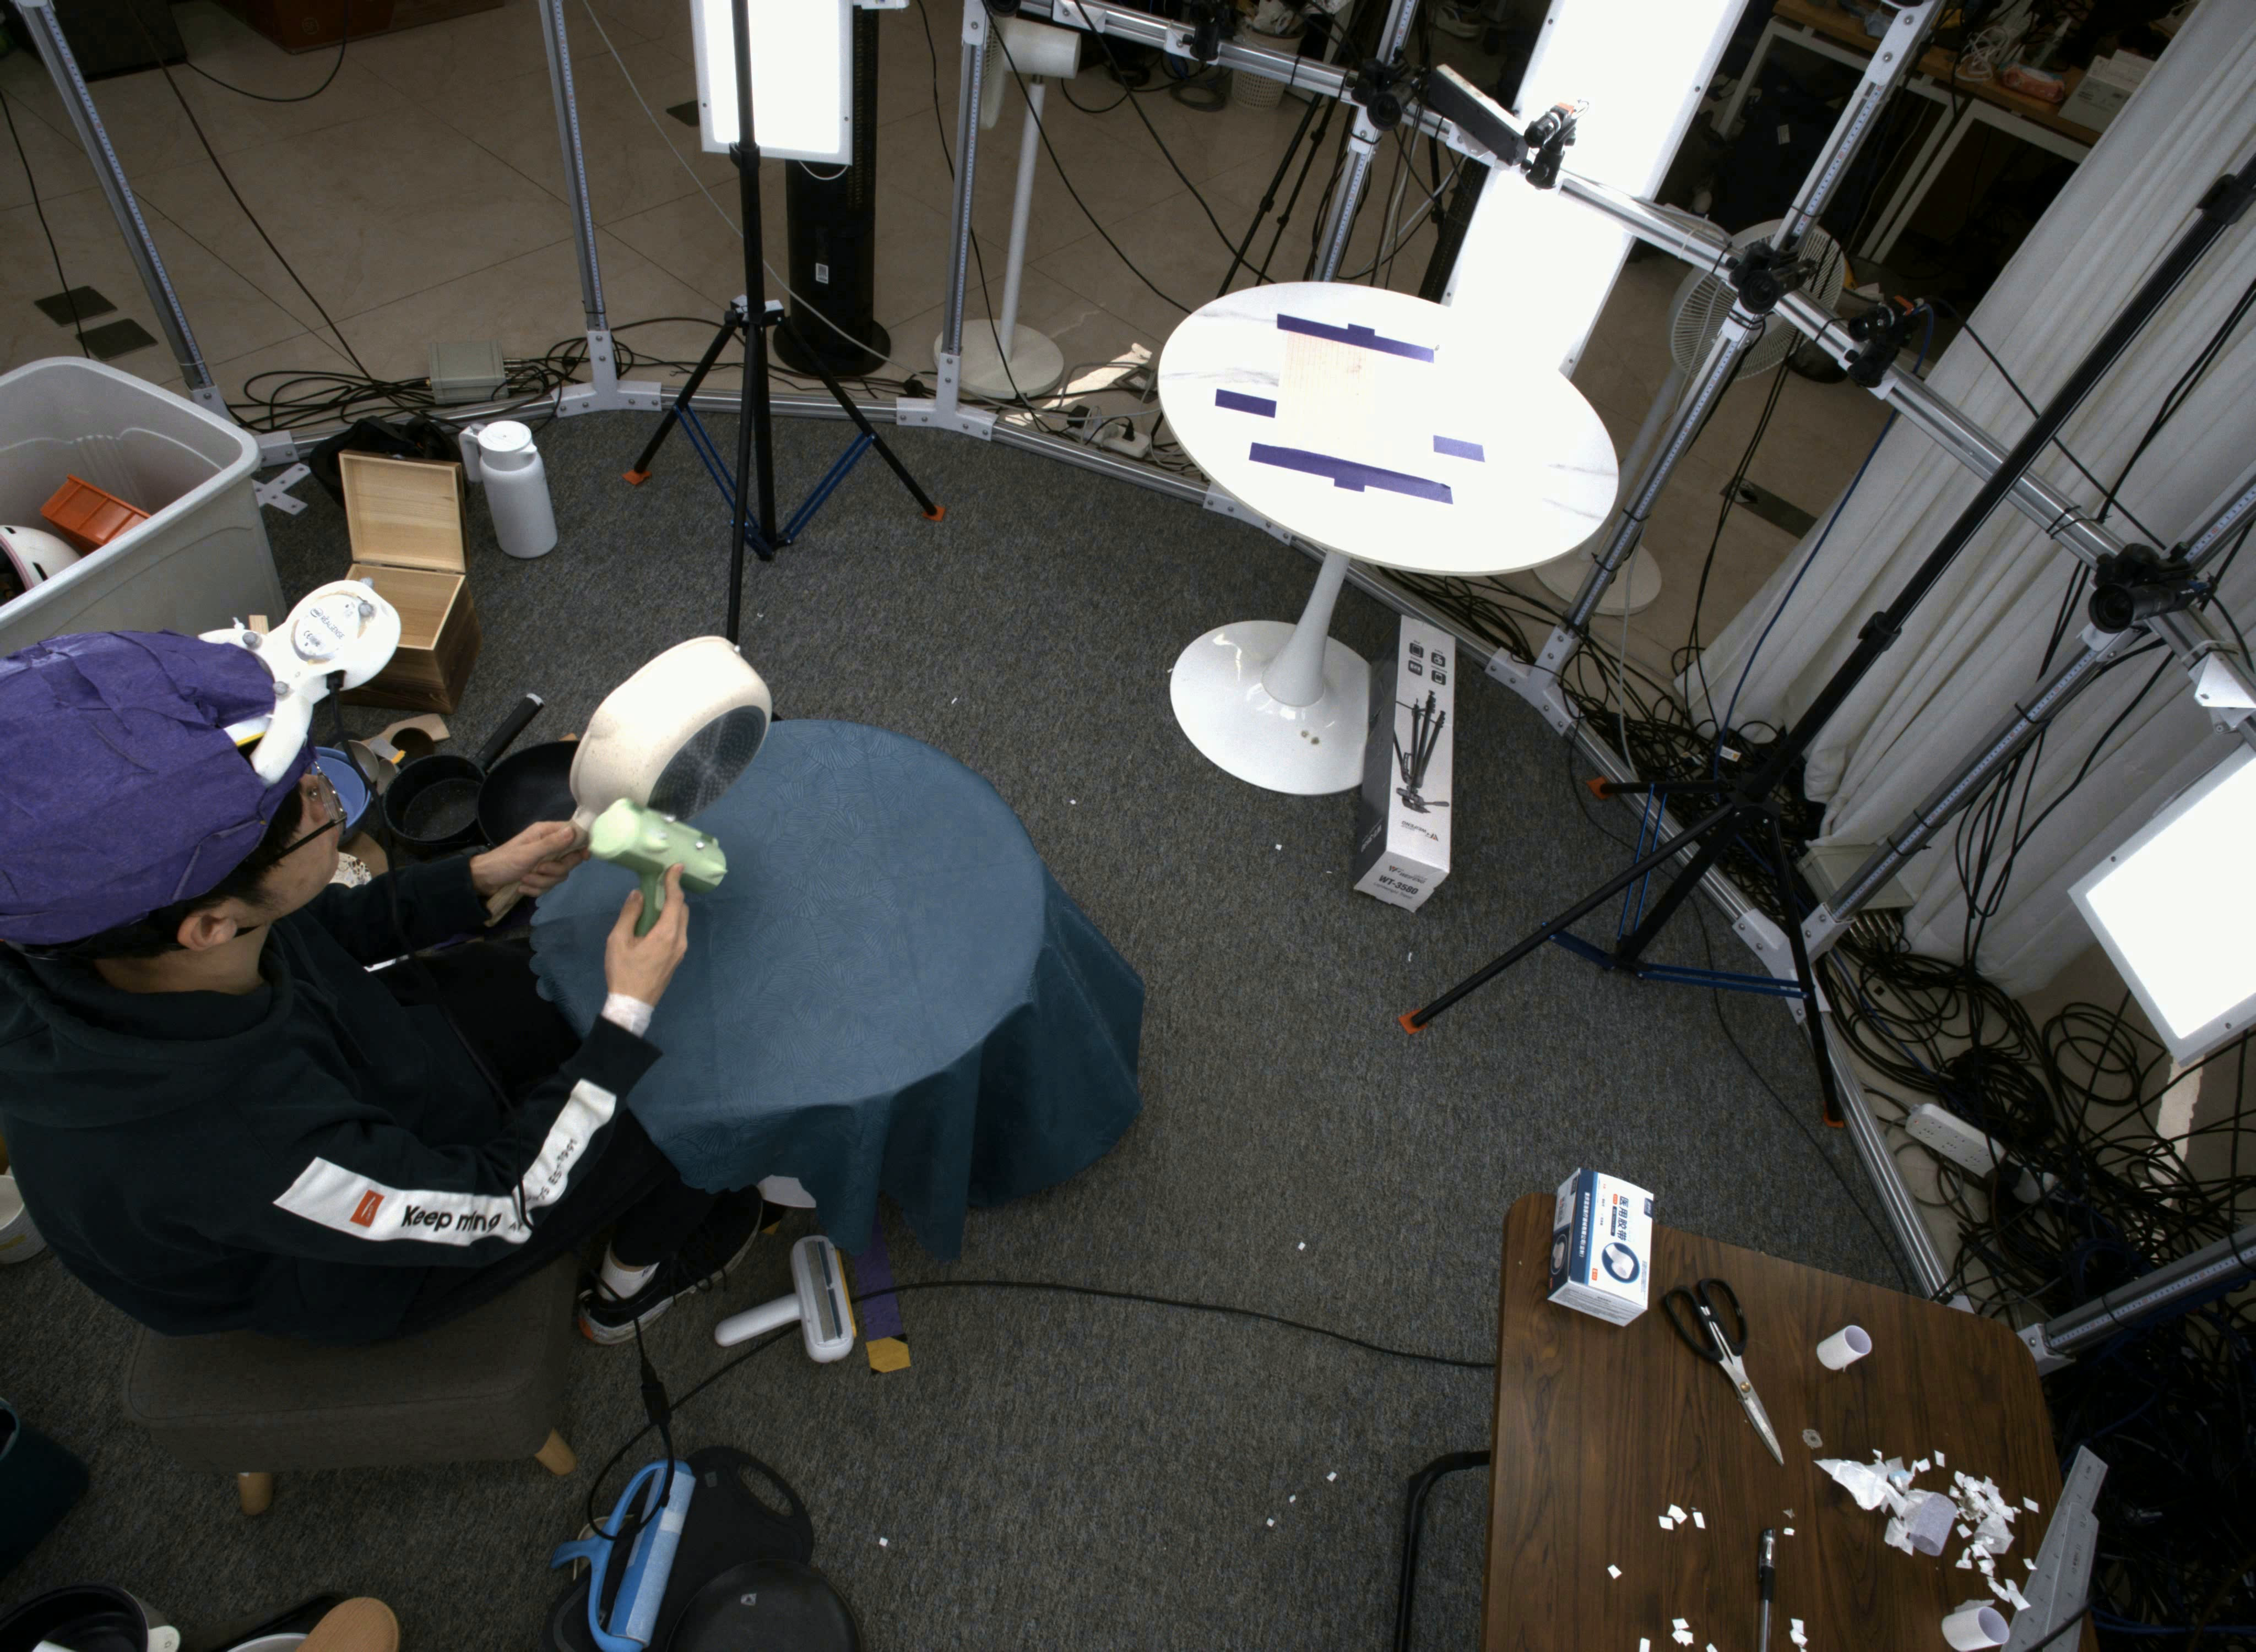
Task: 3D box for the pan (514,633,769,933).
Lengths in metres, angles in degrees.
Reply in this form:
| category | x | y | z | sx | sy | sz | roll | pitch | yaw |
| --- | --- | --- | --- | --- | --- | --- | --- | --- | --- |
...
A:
| category | x | y | z | sx | sy | sz | roll | pitch | yaw |
| --- | --- | --- | --- | --- | --- | --- | --- | --- | --- |
| pan | -0.574 | -0.026 | 1.467 | 0.101 | 0.265 | 0.436 | 39 | 90 | 6 |

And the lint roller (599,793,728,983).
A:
| category | x | y | z | sx | sy | sz | roll | pitch | yaw |
| --- | --- | --- | --- | --- | --- | --- | --- | --- | --- |
| lint roller | -0.507 | 0.076 | 1.410 | 0.080 | 0.203 | 0.183 | -3 | 76 | 11 |
